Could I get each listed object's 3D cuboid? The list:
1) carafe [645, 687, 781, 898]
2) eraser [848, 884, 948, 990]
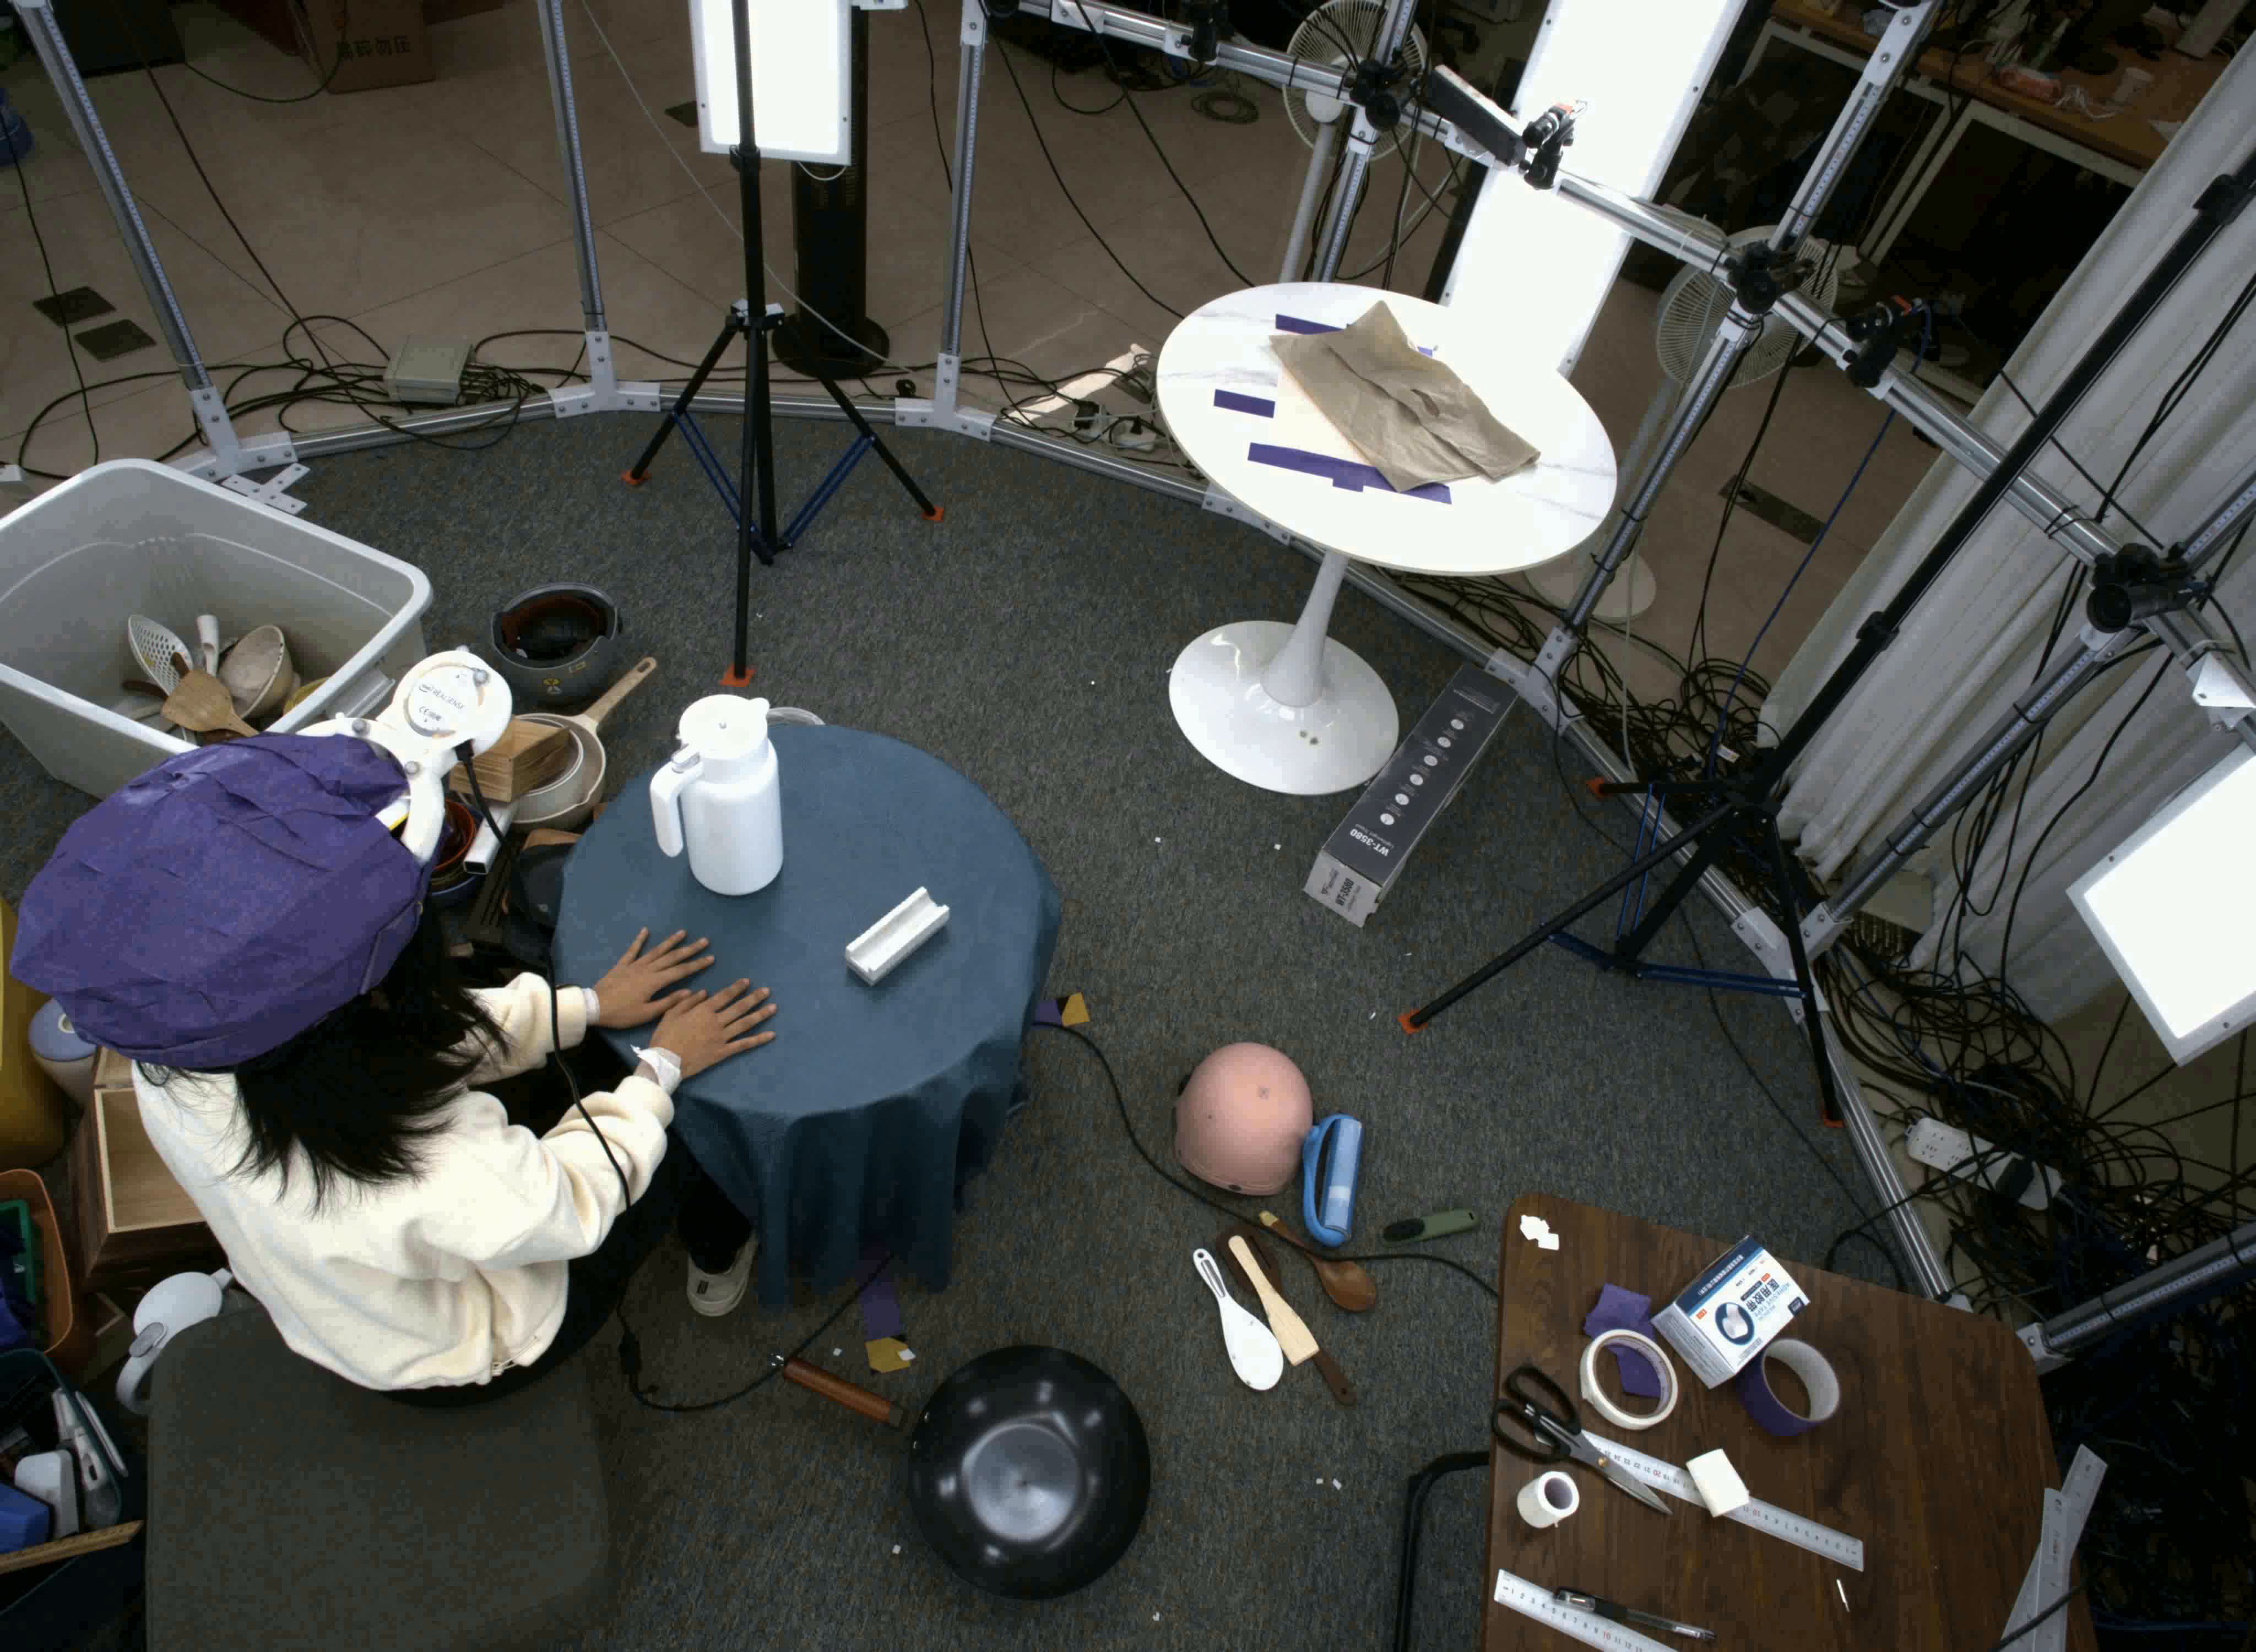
[{"bbox_3d":[-0.494,-0.027,1.548,0.121,0.274,0.172,34,53,13],"label":"carafe"},{"bbox_3d":[-0.286,0.137,1.623,0.049,0.047,0.134,36,53,11],"label":"eraser"}]
